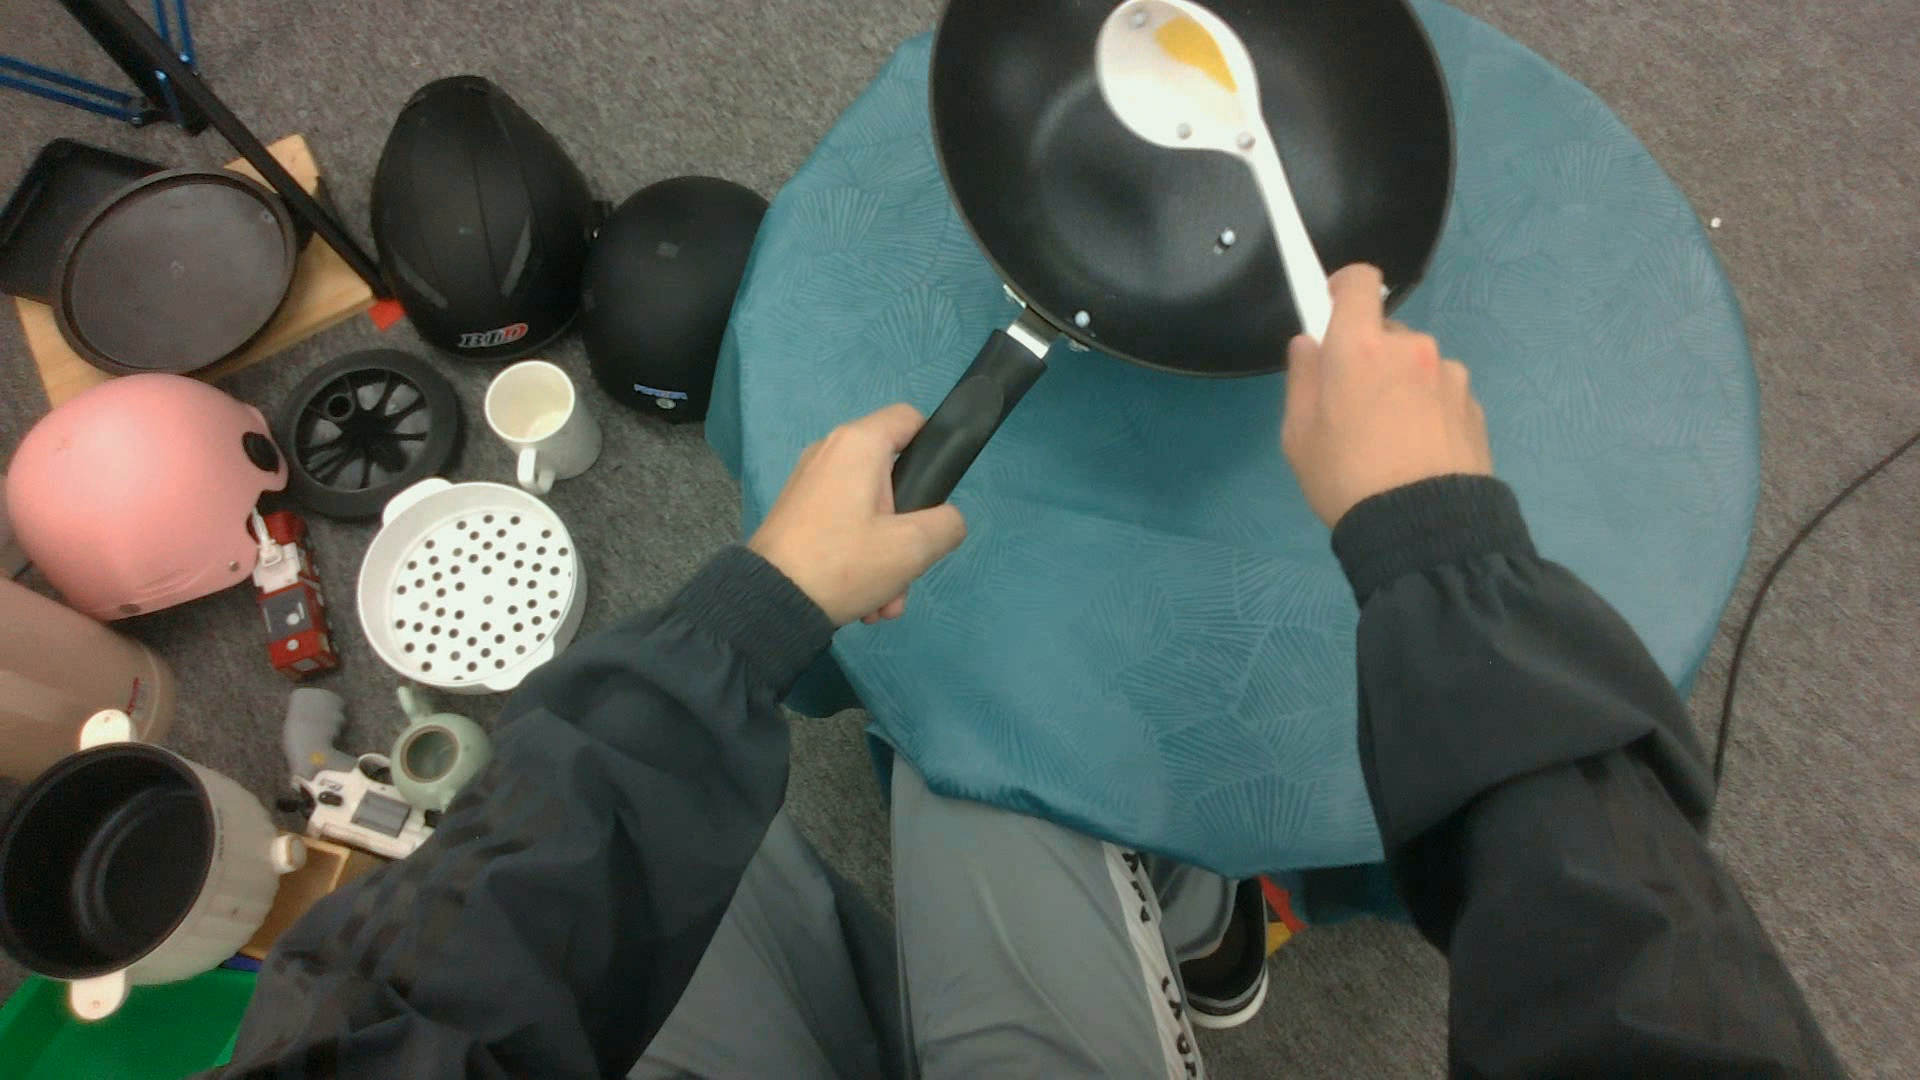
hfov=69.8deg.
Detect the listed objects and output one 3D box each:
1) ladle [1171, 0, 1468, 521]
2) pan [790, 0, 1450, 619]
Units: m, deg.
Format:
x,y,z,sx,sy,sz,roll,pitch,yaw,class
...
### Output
x,y,z,sx,sy,sz,roll,pitch,yaw,class
0.178,-0.149,0.678,0.070,0.090,0.293,-5,74,-23,ladle
0.065,-0.139,0.737,0.288,0.086,0.464,36,78,0,pan
